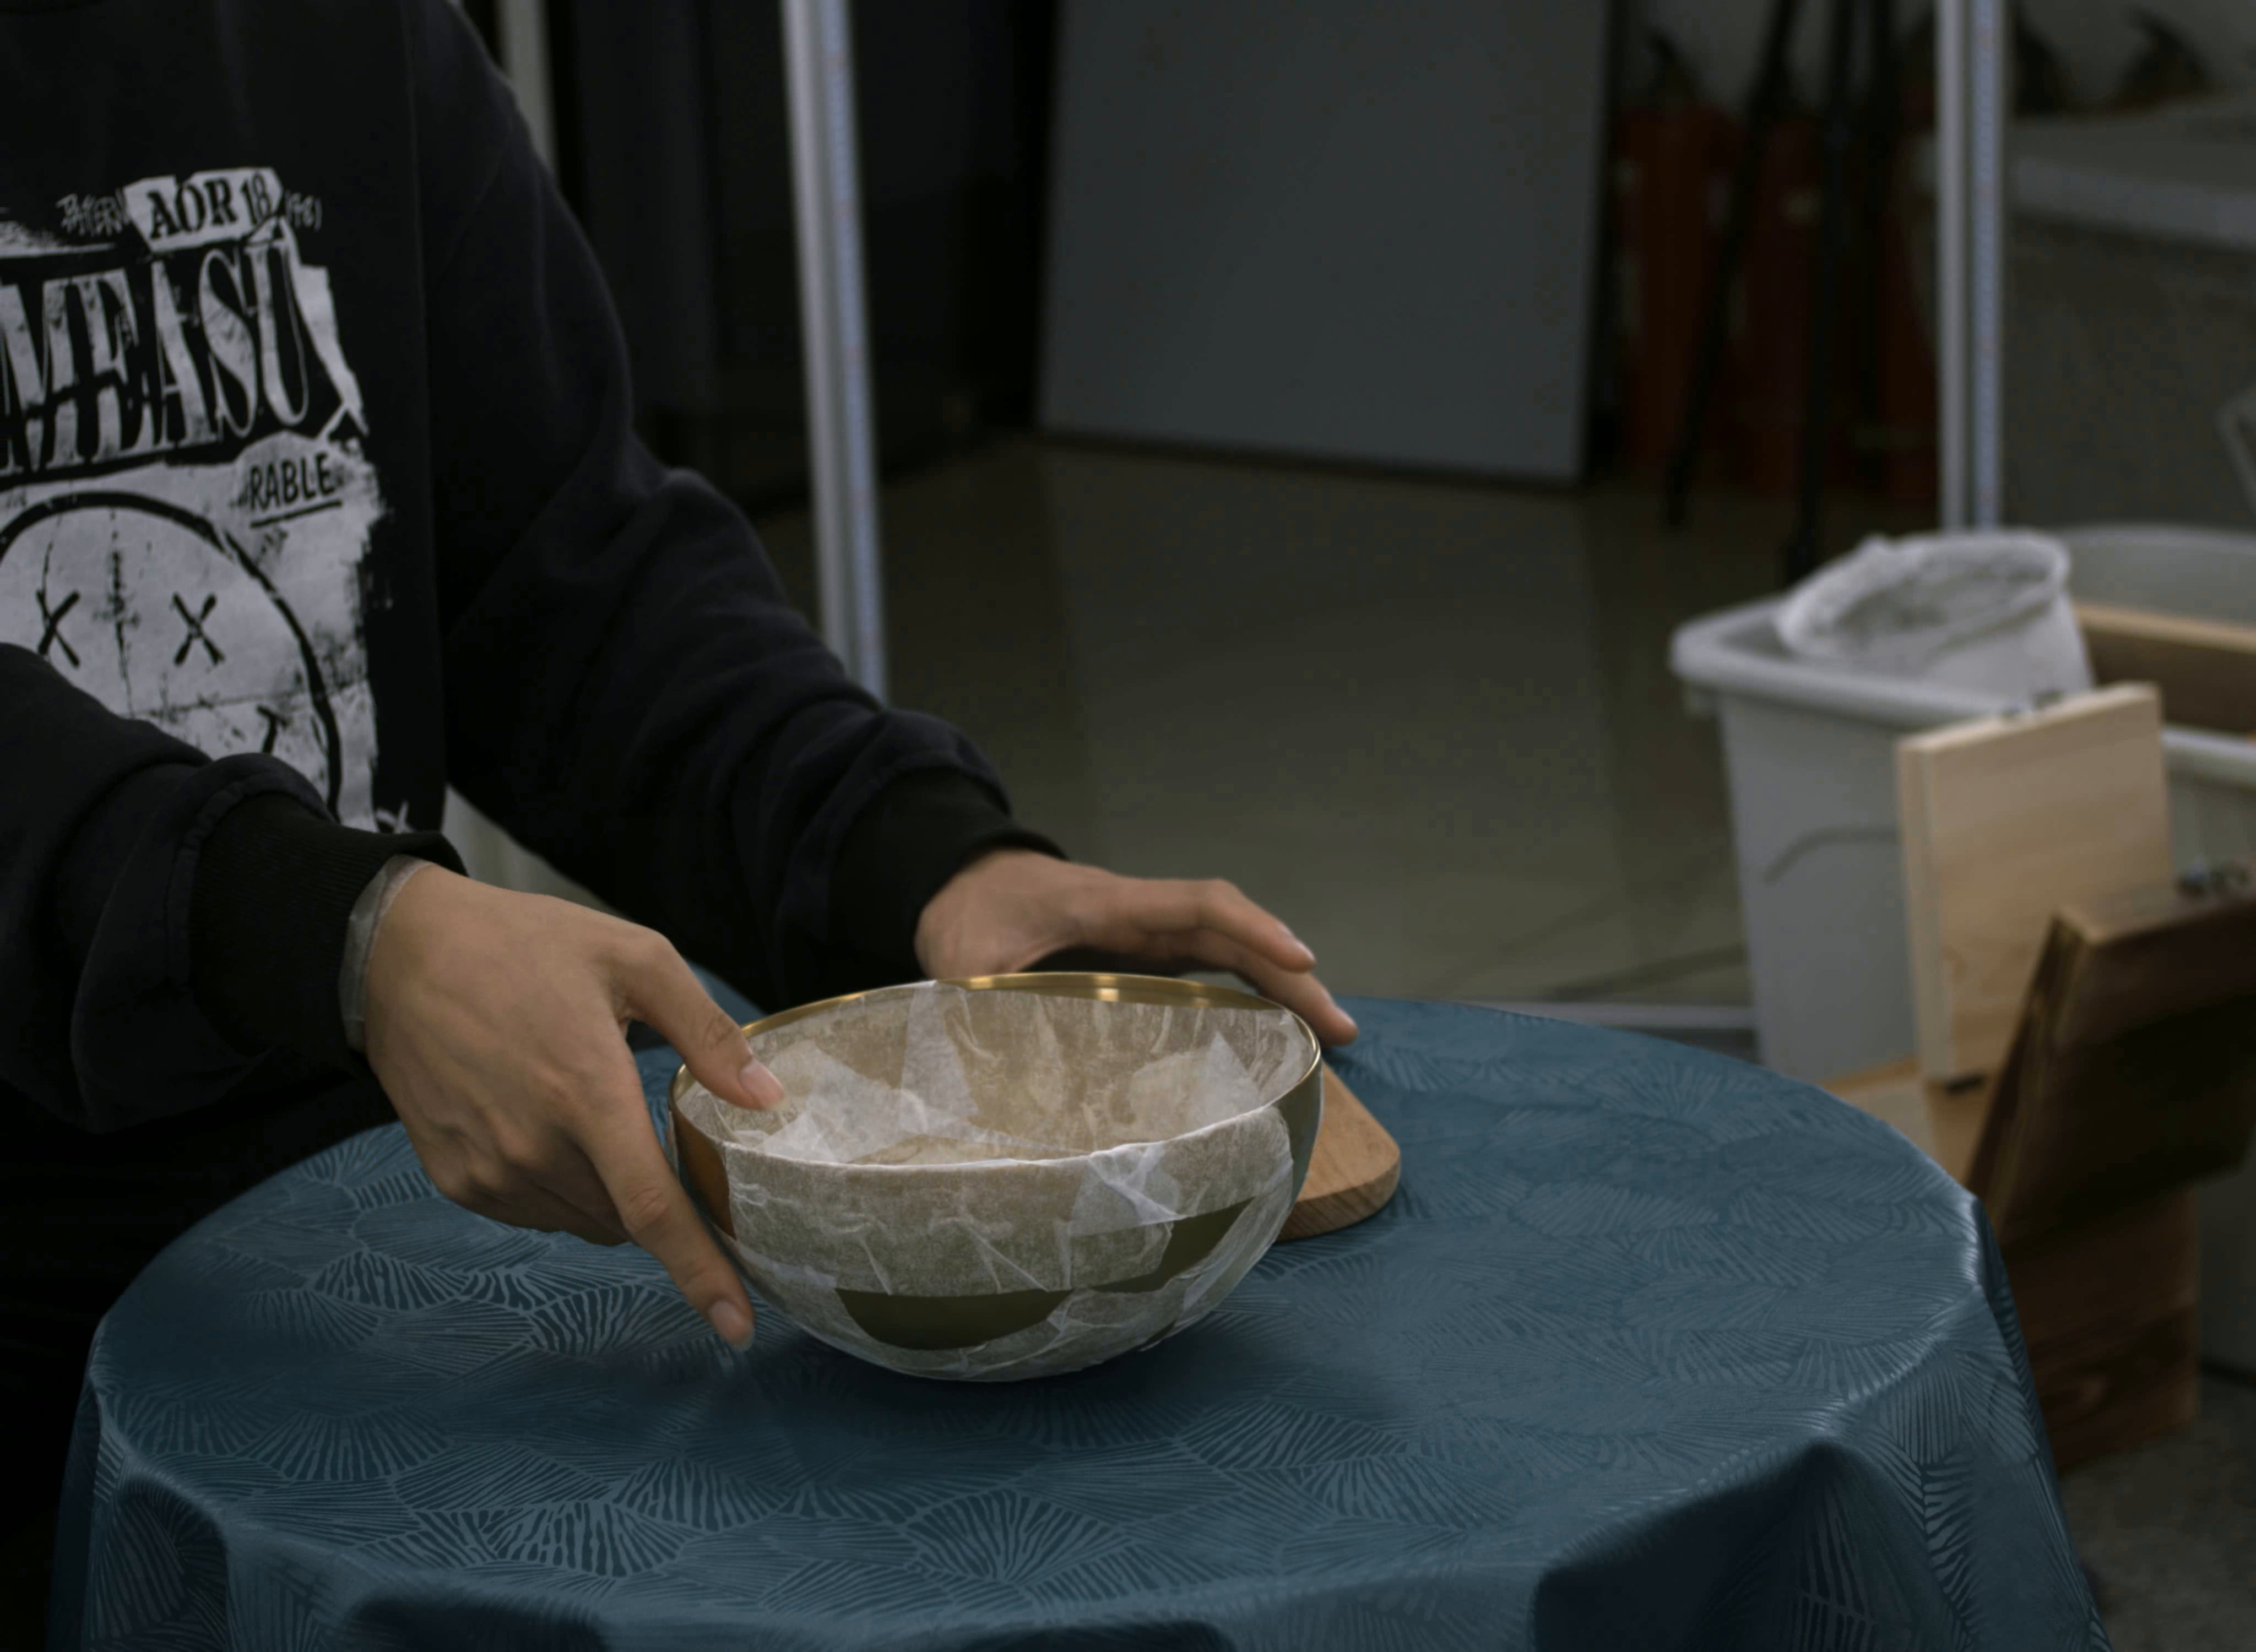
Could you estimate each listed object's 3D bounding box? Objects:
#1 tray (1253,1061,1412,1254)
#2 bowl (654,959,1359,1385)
[{"bbox_3d":[0.028,0.102,1.812,0.100,0.020,0.233,-9,16,-11],"label":"tray"},{"bbox_3d":[-0.035,0.112,1.625,0.212,0.095,0.215,-5,14,0],"label":"bowl"}]
